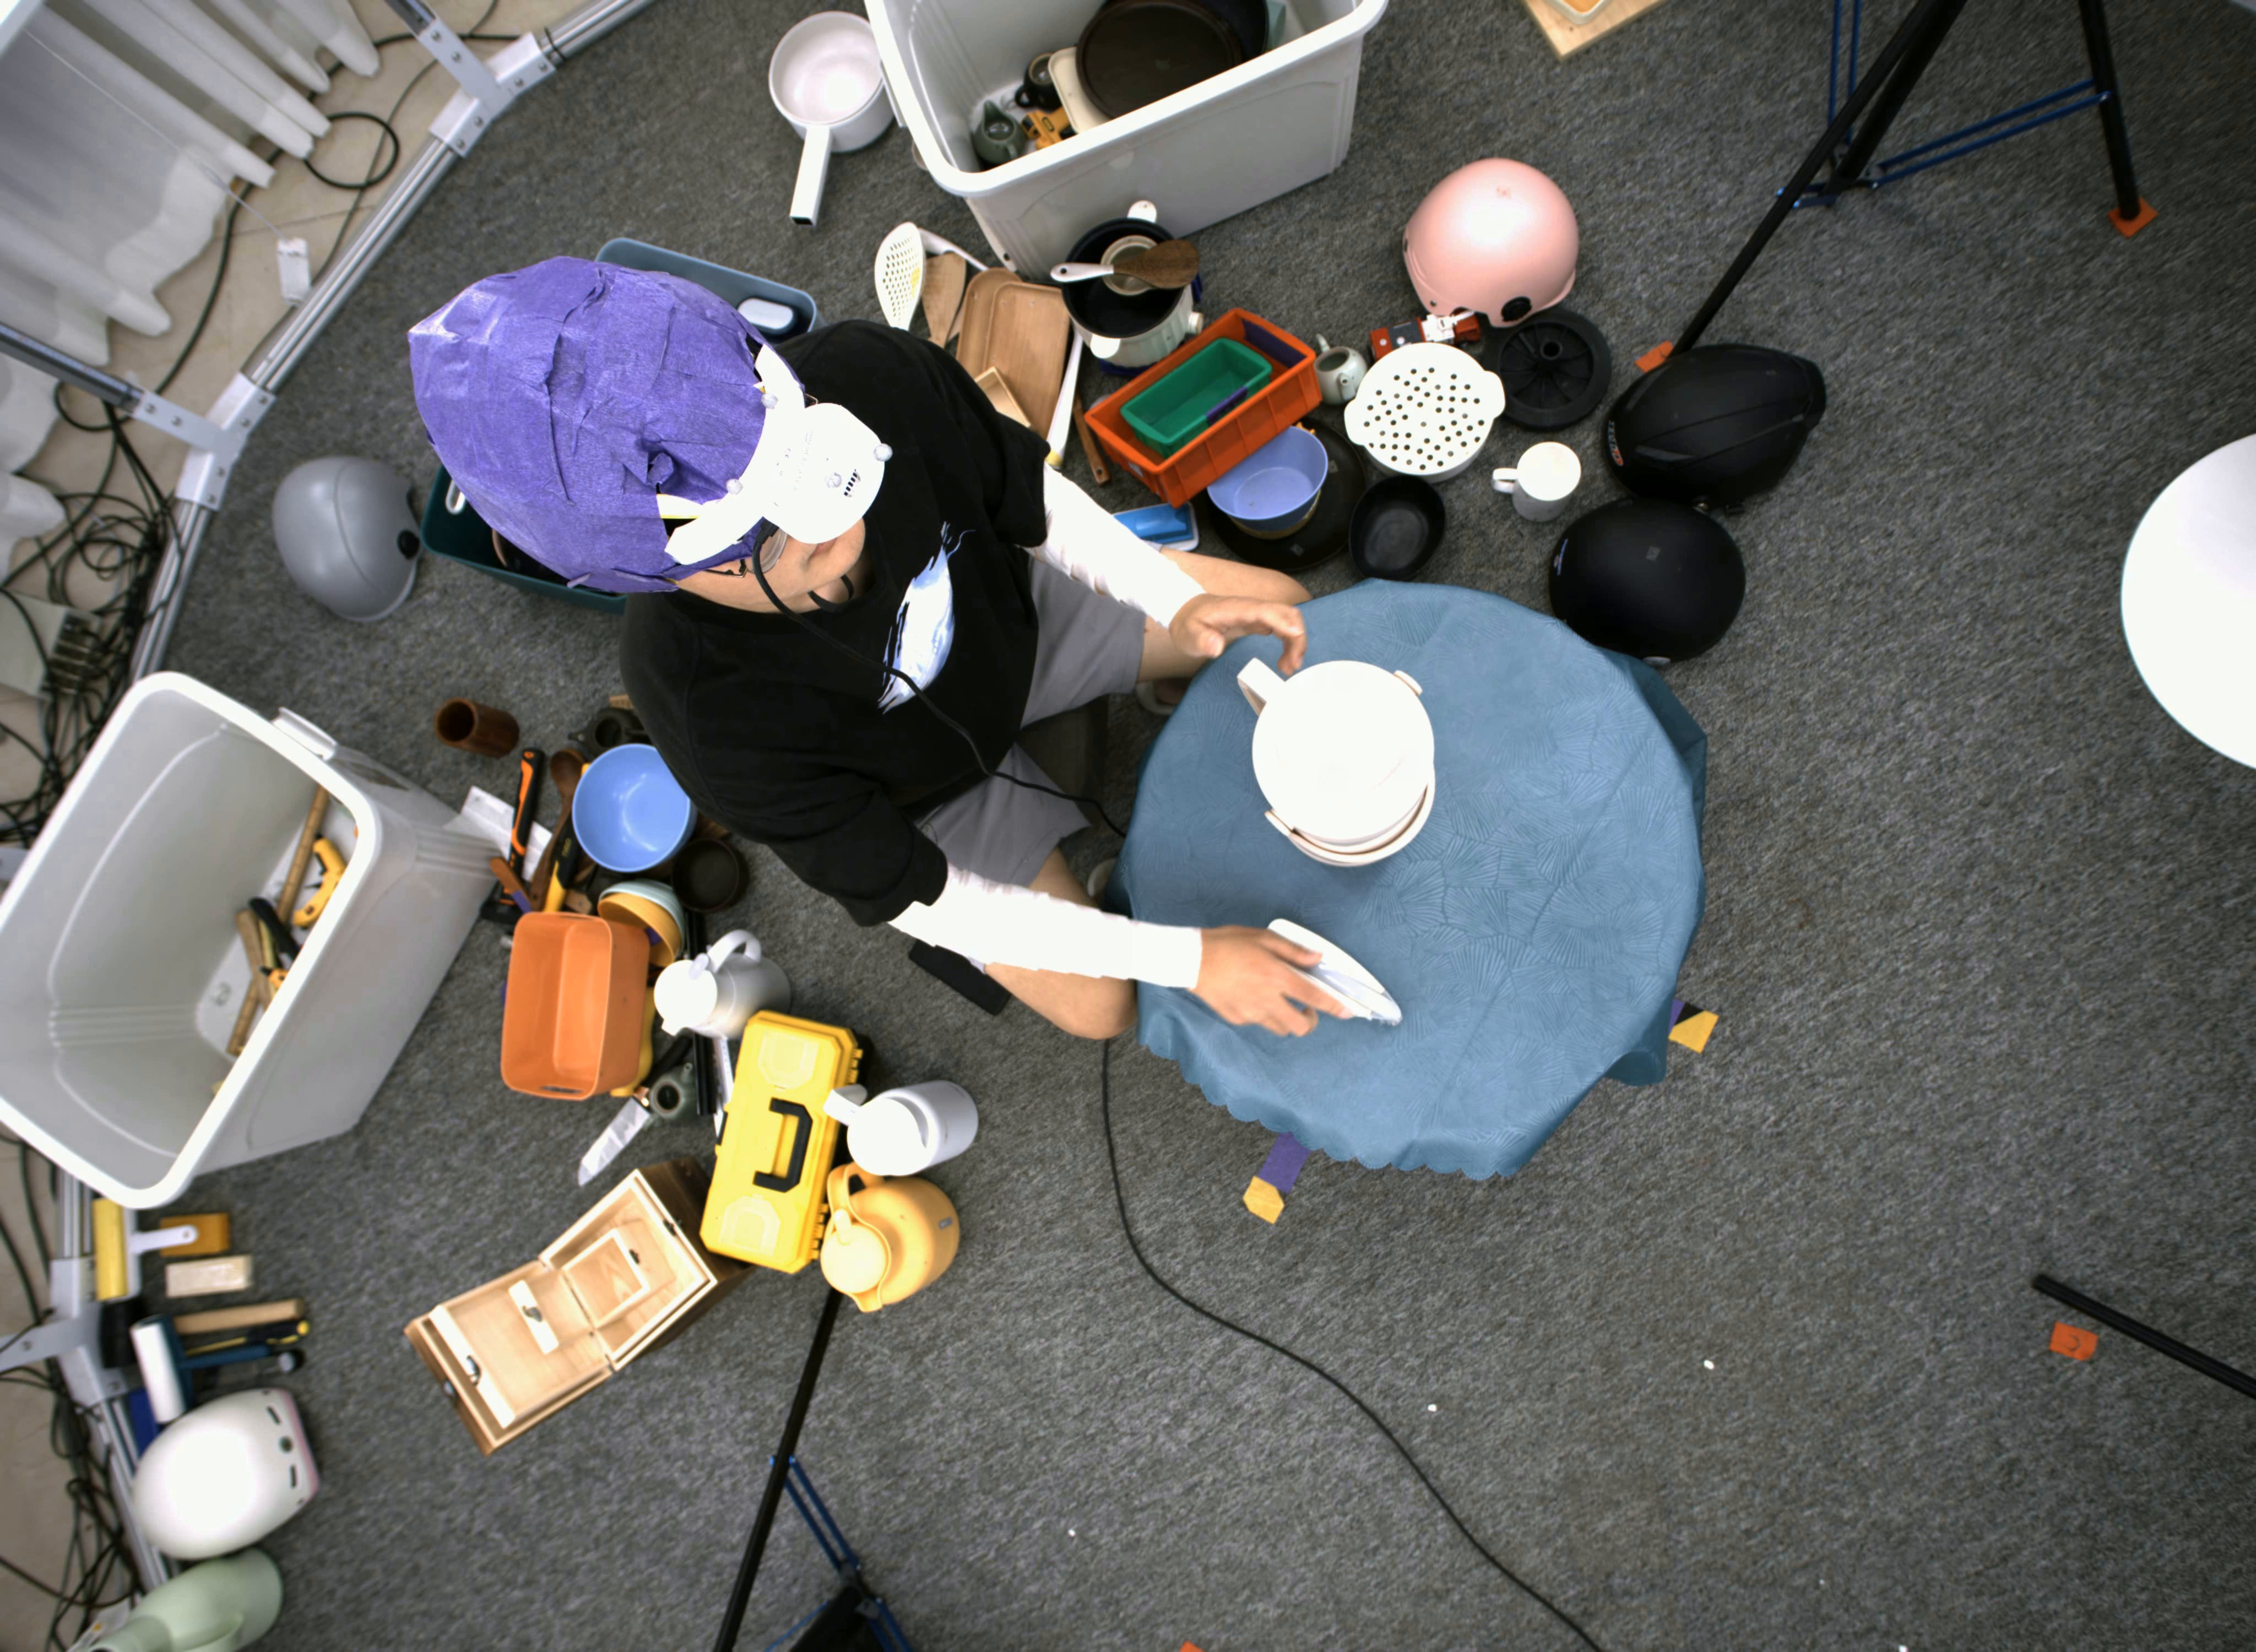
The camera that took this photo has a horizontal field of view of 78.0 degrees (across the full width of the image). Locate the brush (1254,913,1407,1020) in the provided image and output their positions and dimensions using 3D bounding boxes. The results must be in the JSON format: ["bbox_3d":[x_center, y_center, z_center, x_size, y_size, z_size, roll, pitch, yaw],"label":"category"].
[{"bbox_3d":[0.210,0.152,1.419,0.175,0.094,0.061,30,93,9],"label":"brush"}]

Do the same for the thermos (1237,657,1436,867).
[{"bbox_3d":[0.192,-0.067,1.280,0.206,0.406,0.176,43,94,11],"label":"thermos"}]
